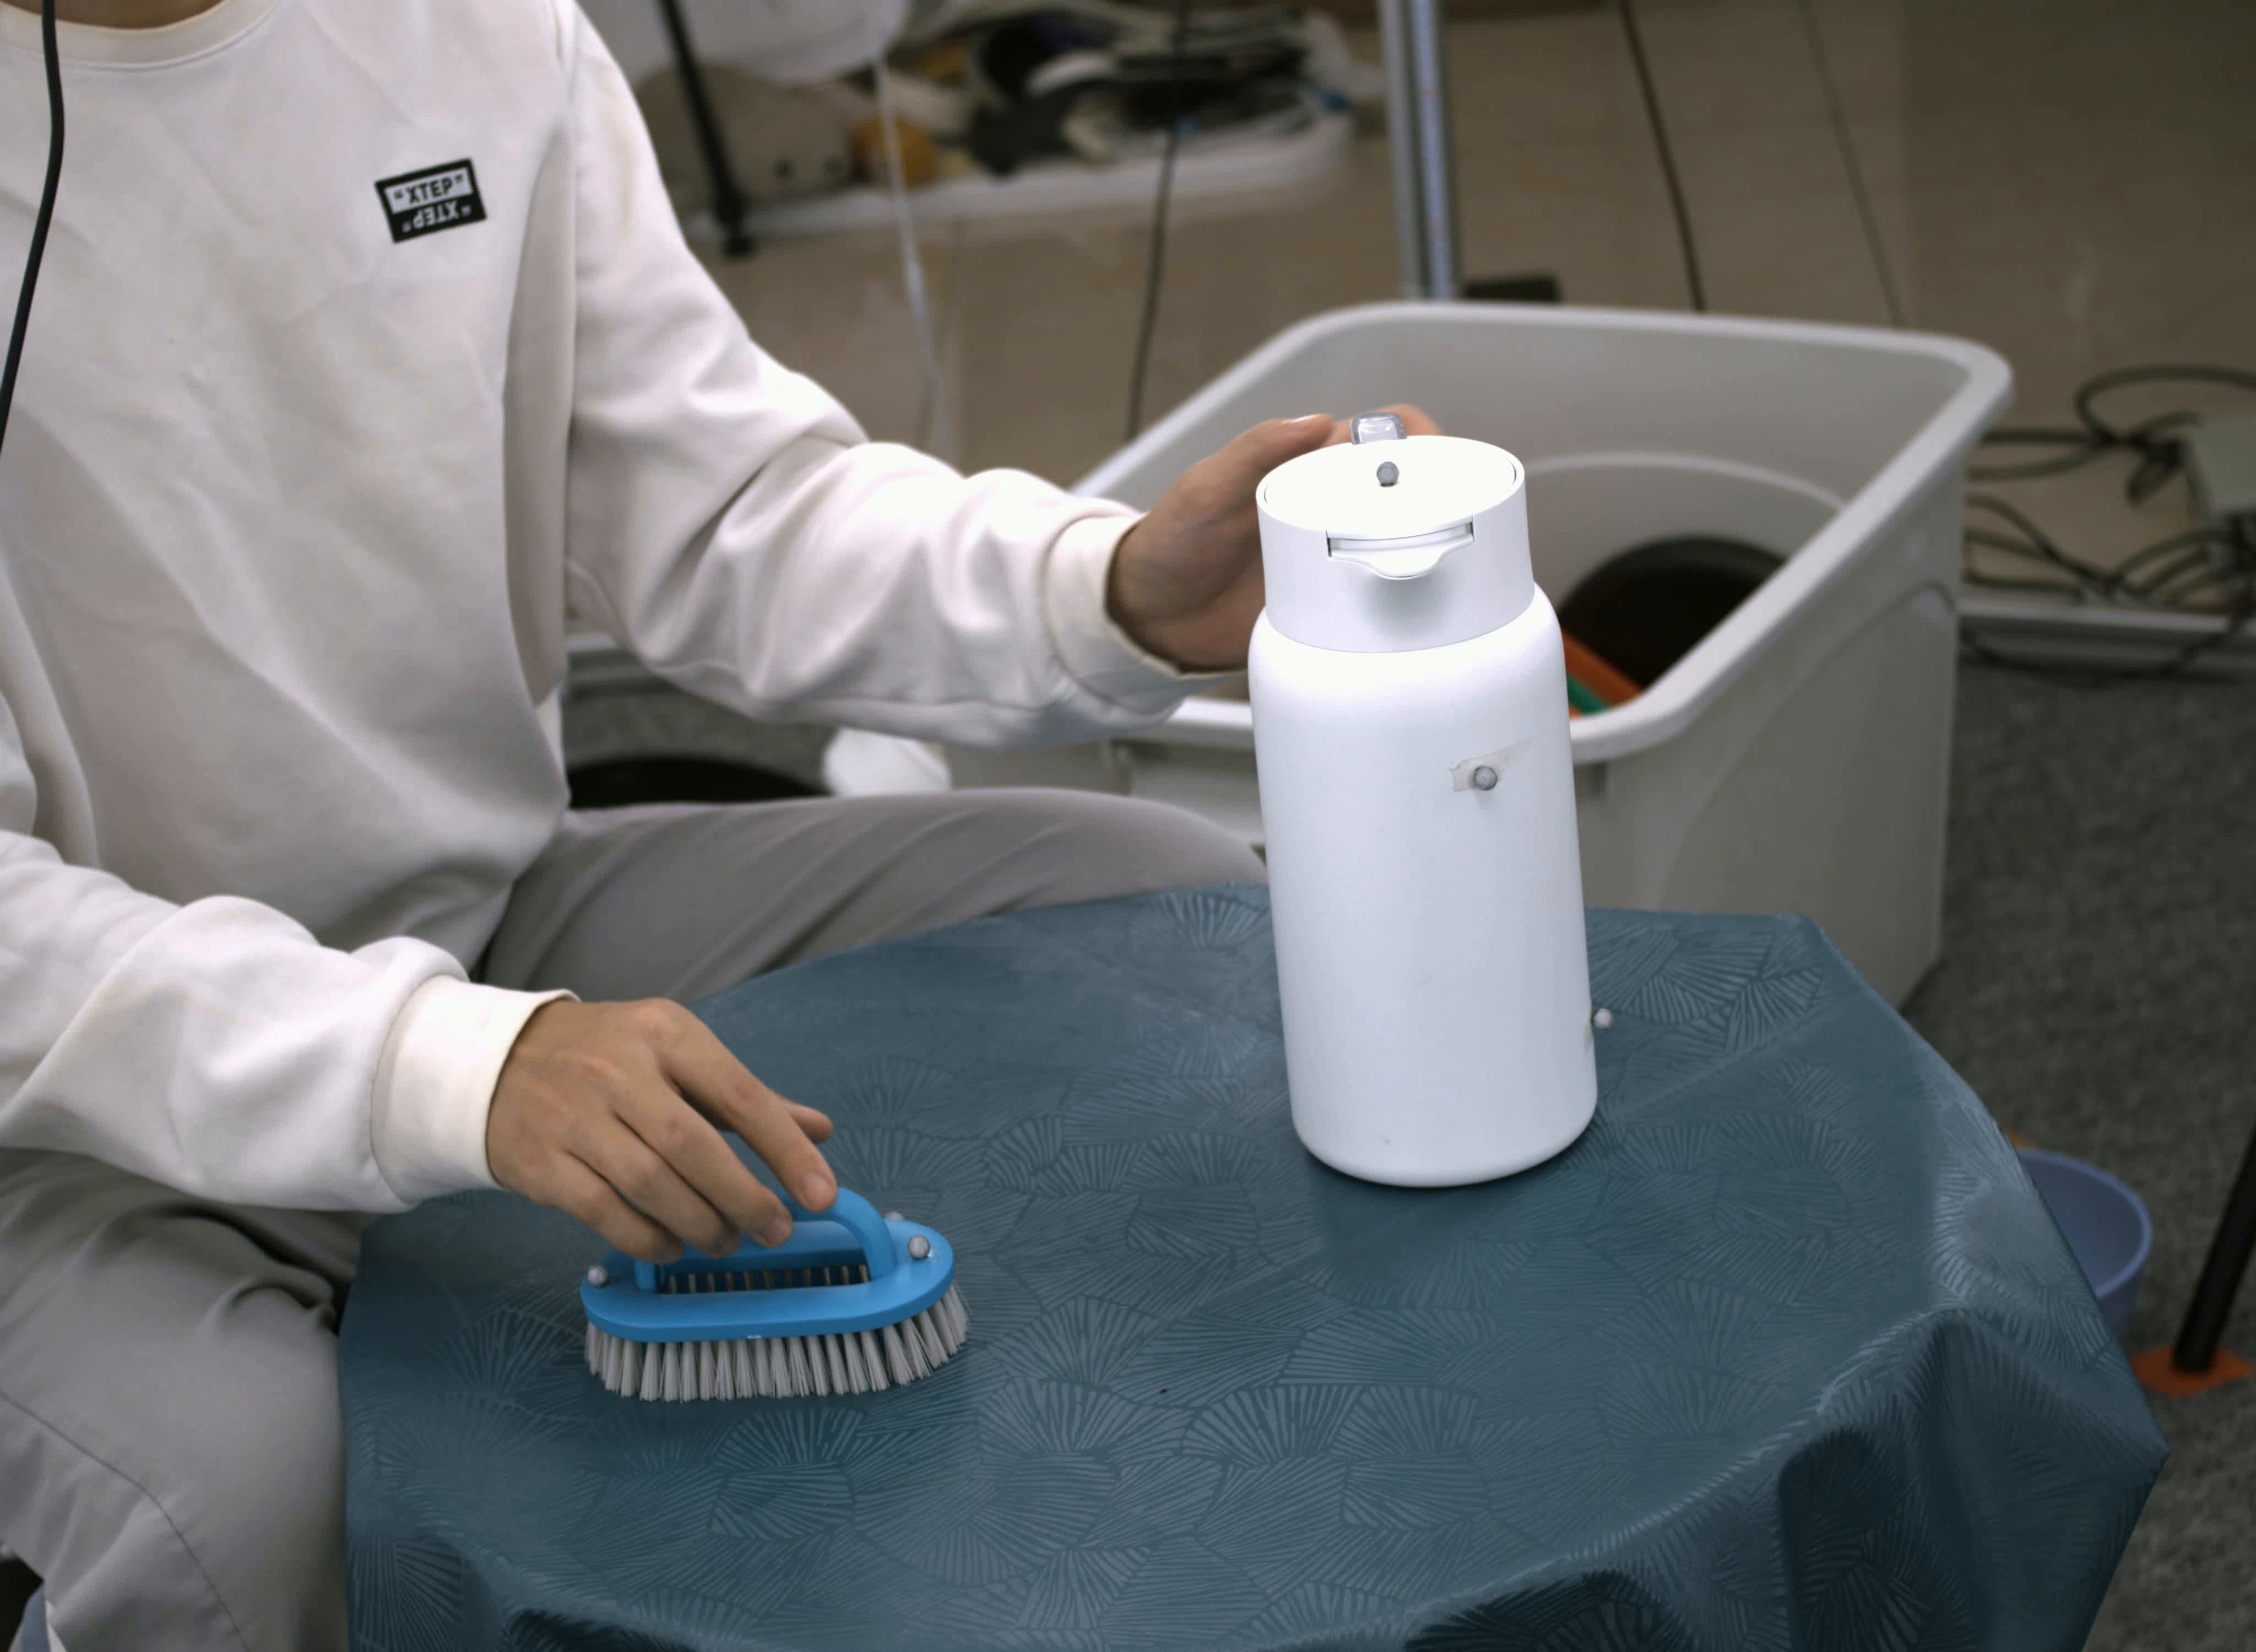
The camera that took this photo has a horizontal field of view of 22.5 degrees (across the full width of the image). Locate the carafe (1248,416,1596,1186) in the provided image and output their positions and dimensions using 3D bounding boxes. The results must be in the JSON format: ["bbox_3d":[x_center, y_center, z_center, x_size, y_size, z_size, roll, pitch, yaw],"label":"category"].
[{"bbox_3d":[0.106,-0.013,2.127,0.123,0.273,0.170,-8,25,0],"label":"carafe"}]

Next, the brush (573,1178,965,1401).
[{"bbox_3d":[-0.133,0.159,2.055,0.141,0.065,0.083,-3,30,9],"label":"brush"}]
